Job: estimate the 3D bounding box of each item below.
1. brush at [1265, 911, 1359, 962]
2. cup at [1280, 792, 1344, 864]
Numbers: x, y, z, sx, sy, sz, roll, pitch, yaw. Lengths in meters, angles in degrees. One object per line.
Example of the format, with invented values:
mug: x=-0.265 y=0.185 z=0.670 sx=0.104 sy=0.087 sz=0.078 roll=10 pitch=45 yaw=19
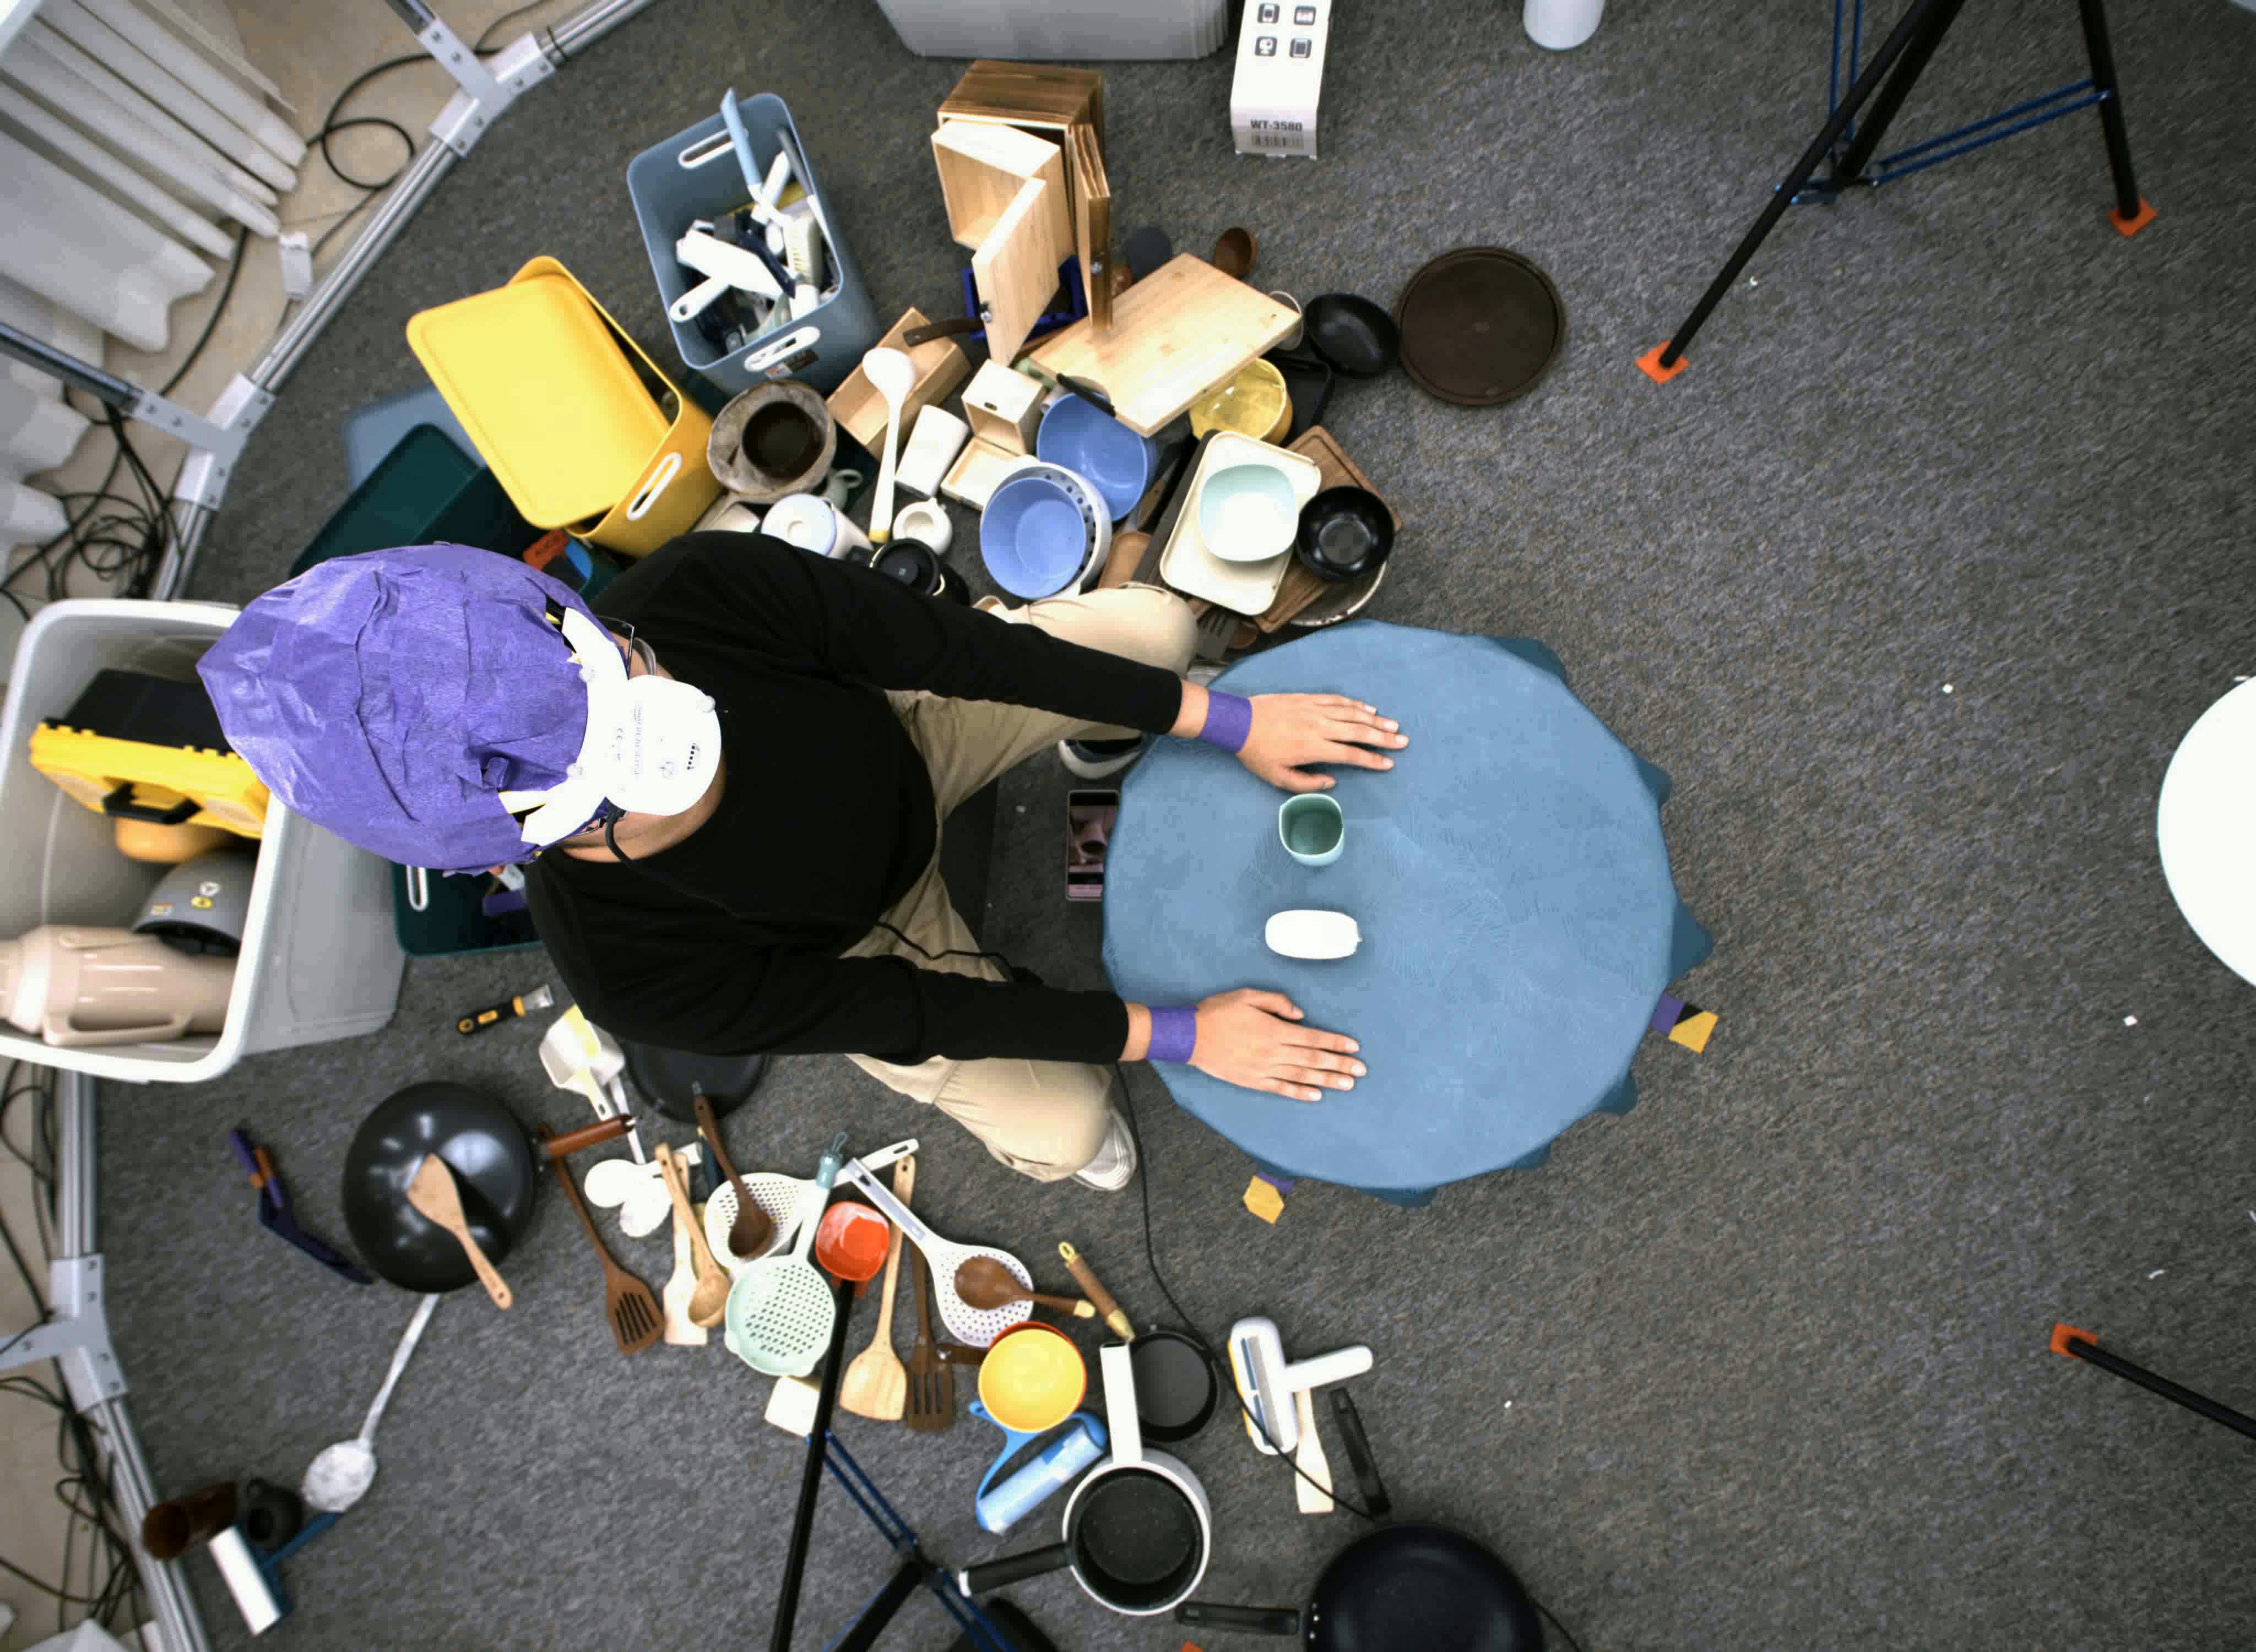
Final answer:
brush: x=0.190 y=0.112 z=1.434 sx=0.099 sy=0.072 sz=0.050 roll=4 pitch=84 yaw=10
cup: x=0.190 y=0.005 z=1.415 sx=0.067 sy=0.132 sz=0.066 roll=-1 pitch=85 yaw=9
